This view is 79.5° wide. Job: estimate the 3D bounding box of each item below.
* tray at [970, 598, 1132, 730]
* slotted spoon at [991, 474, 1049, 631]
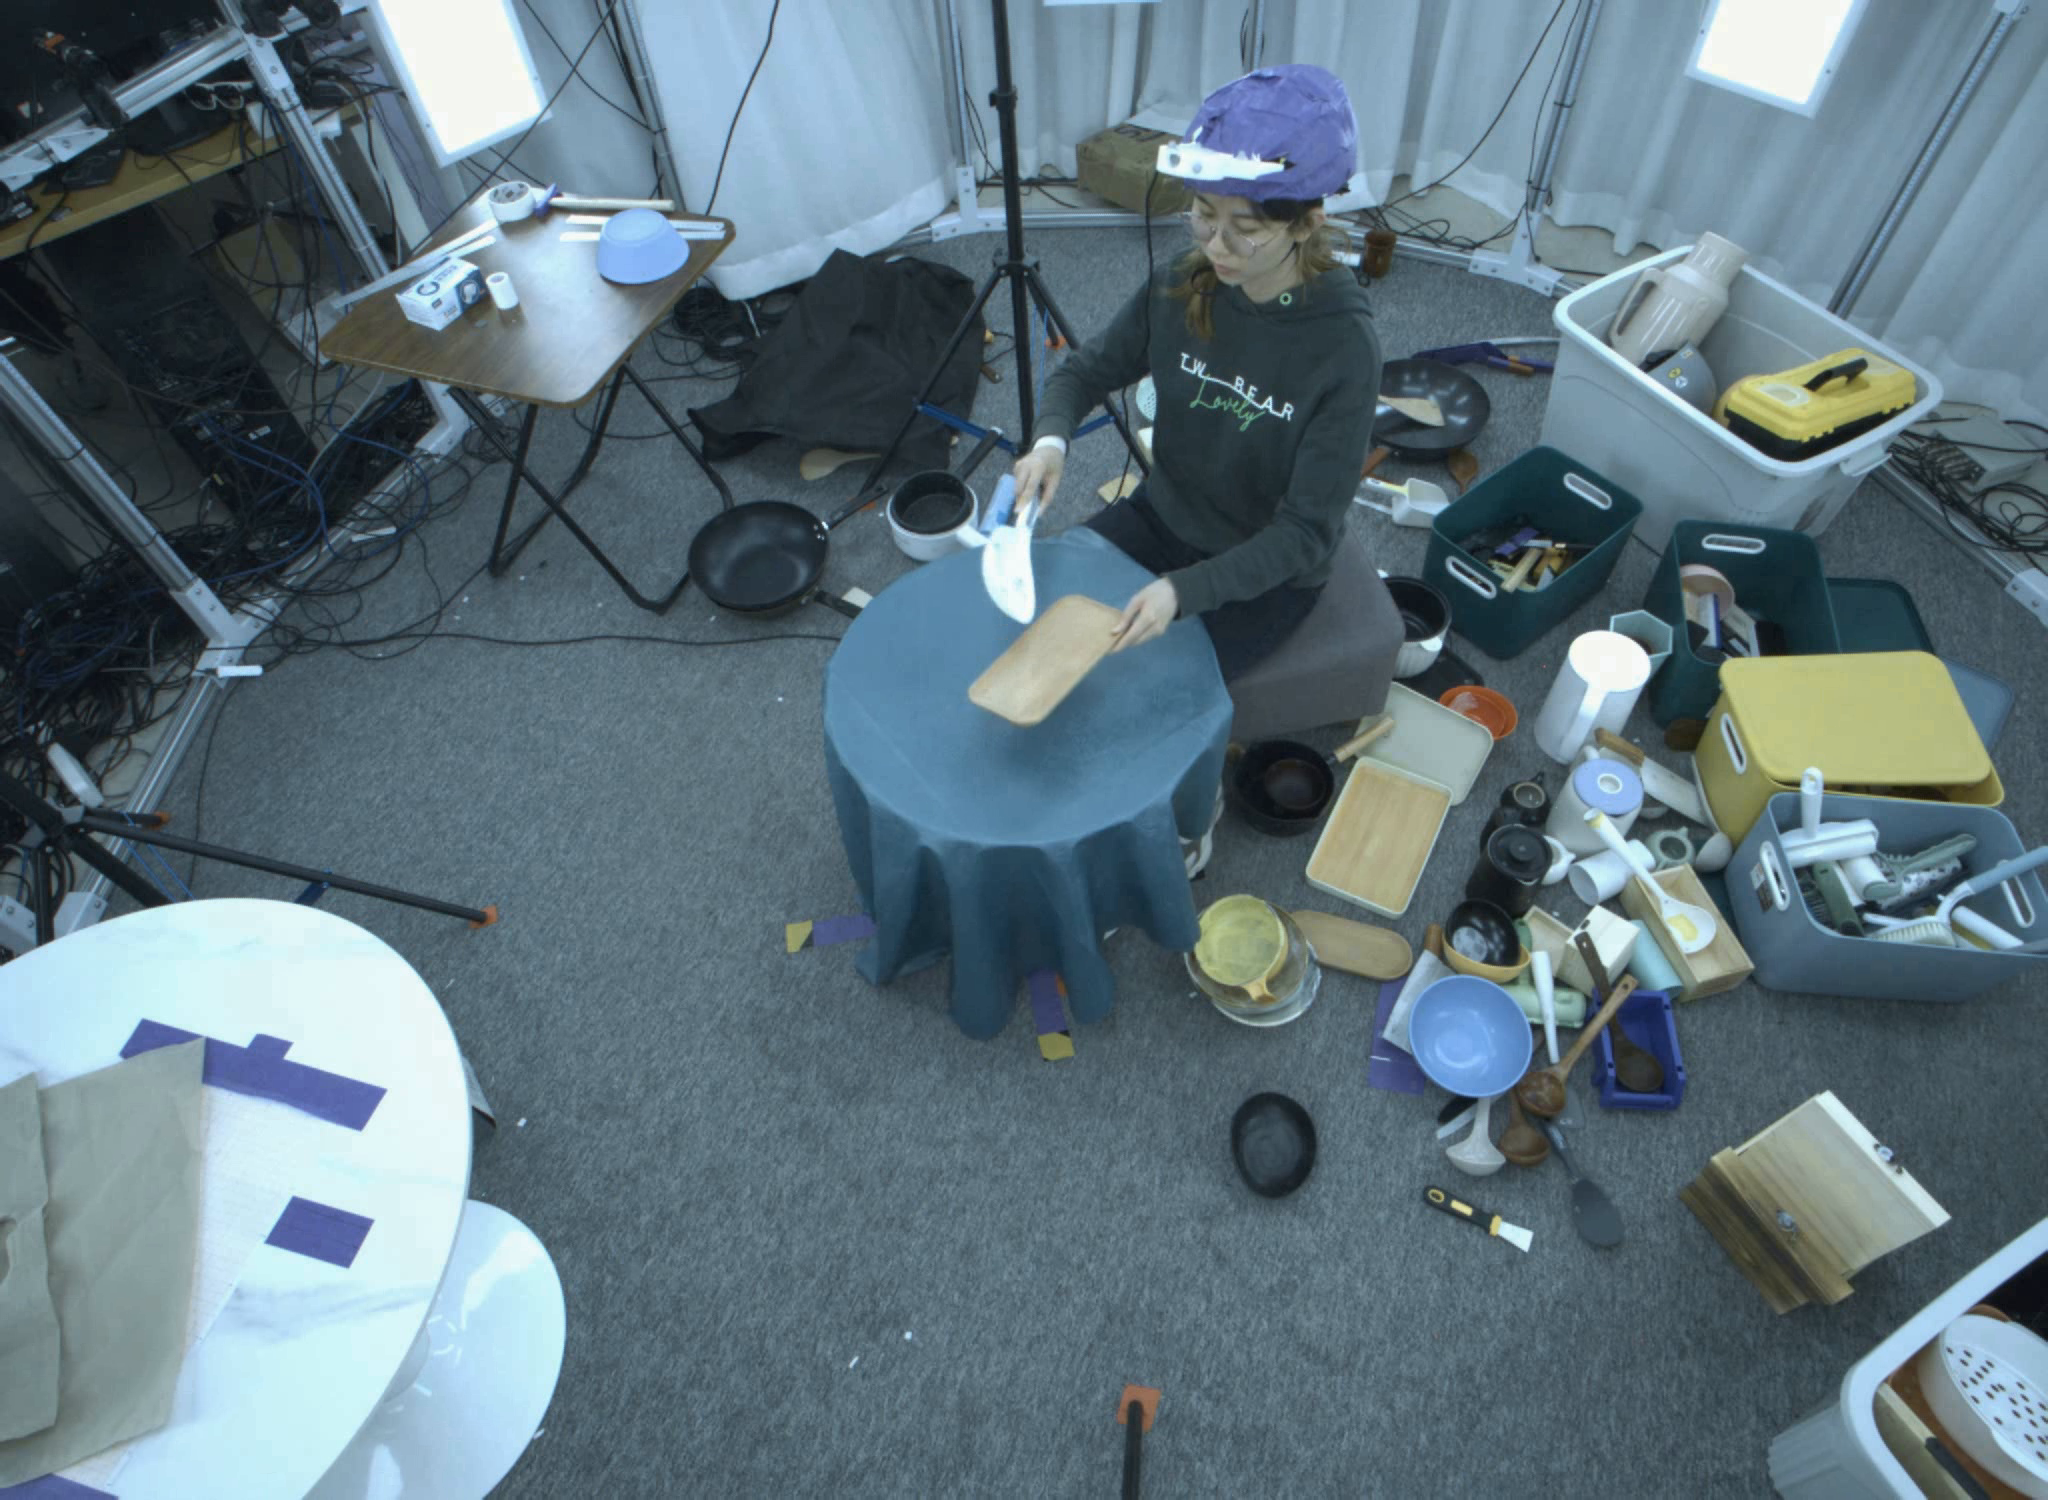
[{"bbox_3d":[0.040,-0.124,1.743,0.128,0.023,0.252,28,58,27],"label":"tray"},{"bbox_3d":[0.003,-0.302,1.763,0.045,0.138,0.348,-5,41,21],"label":"slotted spoon"}]
